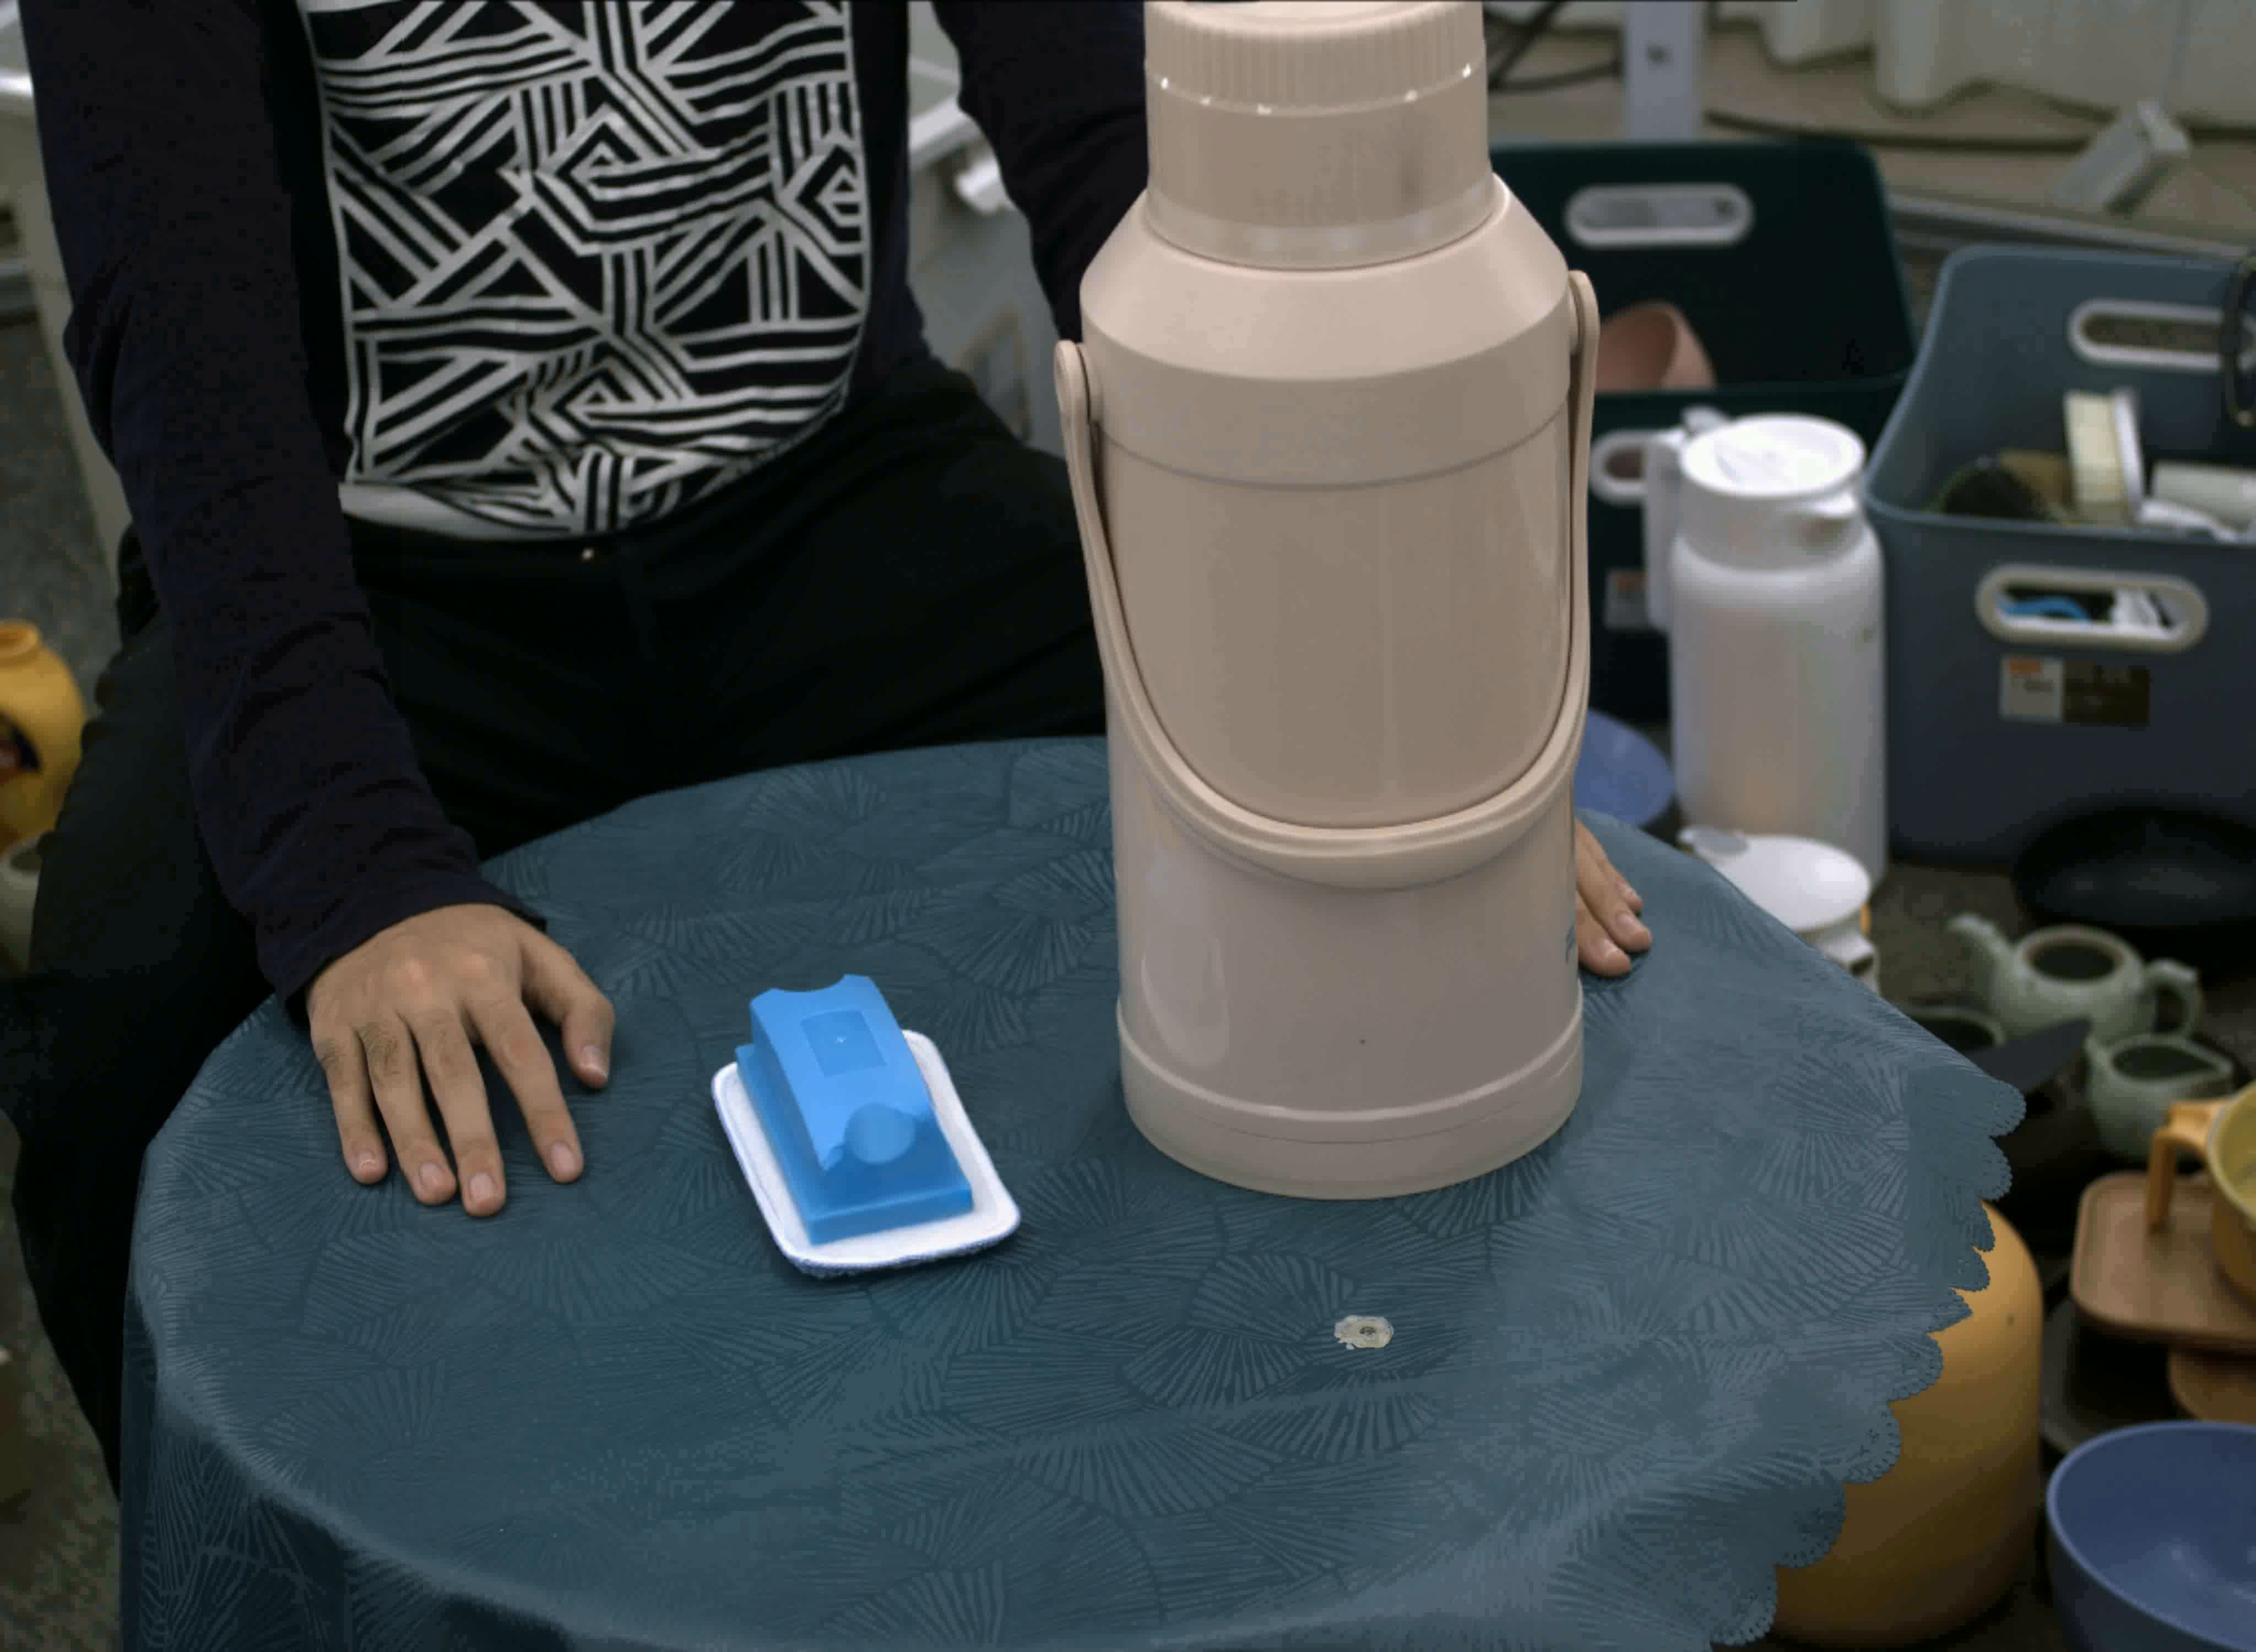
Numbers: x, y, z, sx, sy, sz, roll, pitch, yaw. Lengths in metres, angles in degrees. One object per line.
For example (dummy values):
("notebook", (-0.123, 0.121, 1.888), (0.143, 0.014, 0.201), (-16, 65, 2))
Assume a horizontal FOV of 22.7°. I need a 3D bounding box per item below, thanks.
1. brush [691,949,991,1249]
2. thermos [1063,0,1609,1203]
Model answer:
("brush", (-0.095, 0.086, 1.869), (0.084, 0.055, 0.146), (-5, 31, -13))
("thermos", (0.069, -0.094, 1.844), (0.175, 0.402, 0.209), (-10, 26, -11))
